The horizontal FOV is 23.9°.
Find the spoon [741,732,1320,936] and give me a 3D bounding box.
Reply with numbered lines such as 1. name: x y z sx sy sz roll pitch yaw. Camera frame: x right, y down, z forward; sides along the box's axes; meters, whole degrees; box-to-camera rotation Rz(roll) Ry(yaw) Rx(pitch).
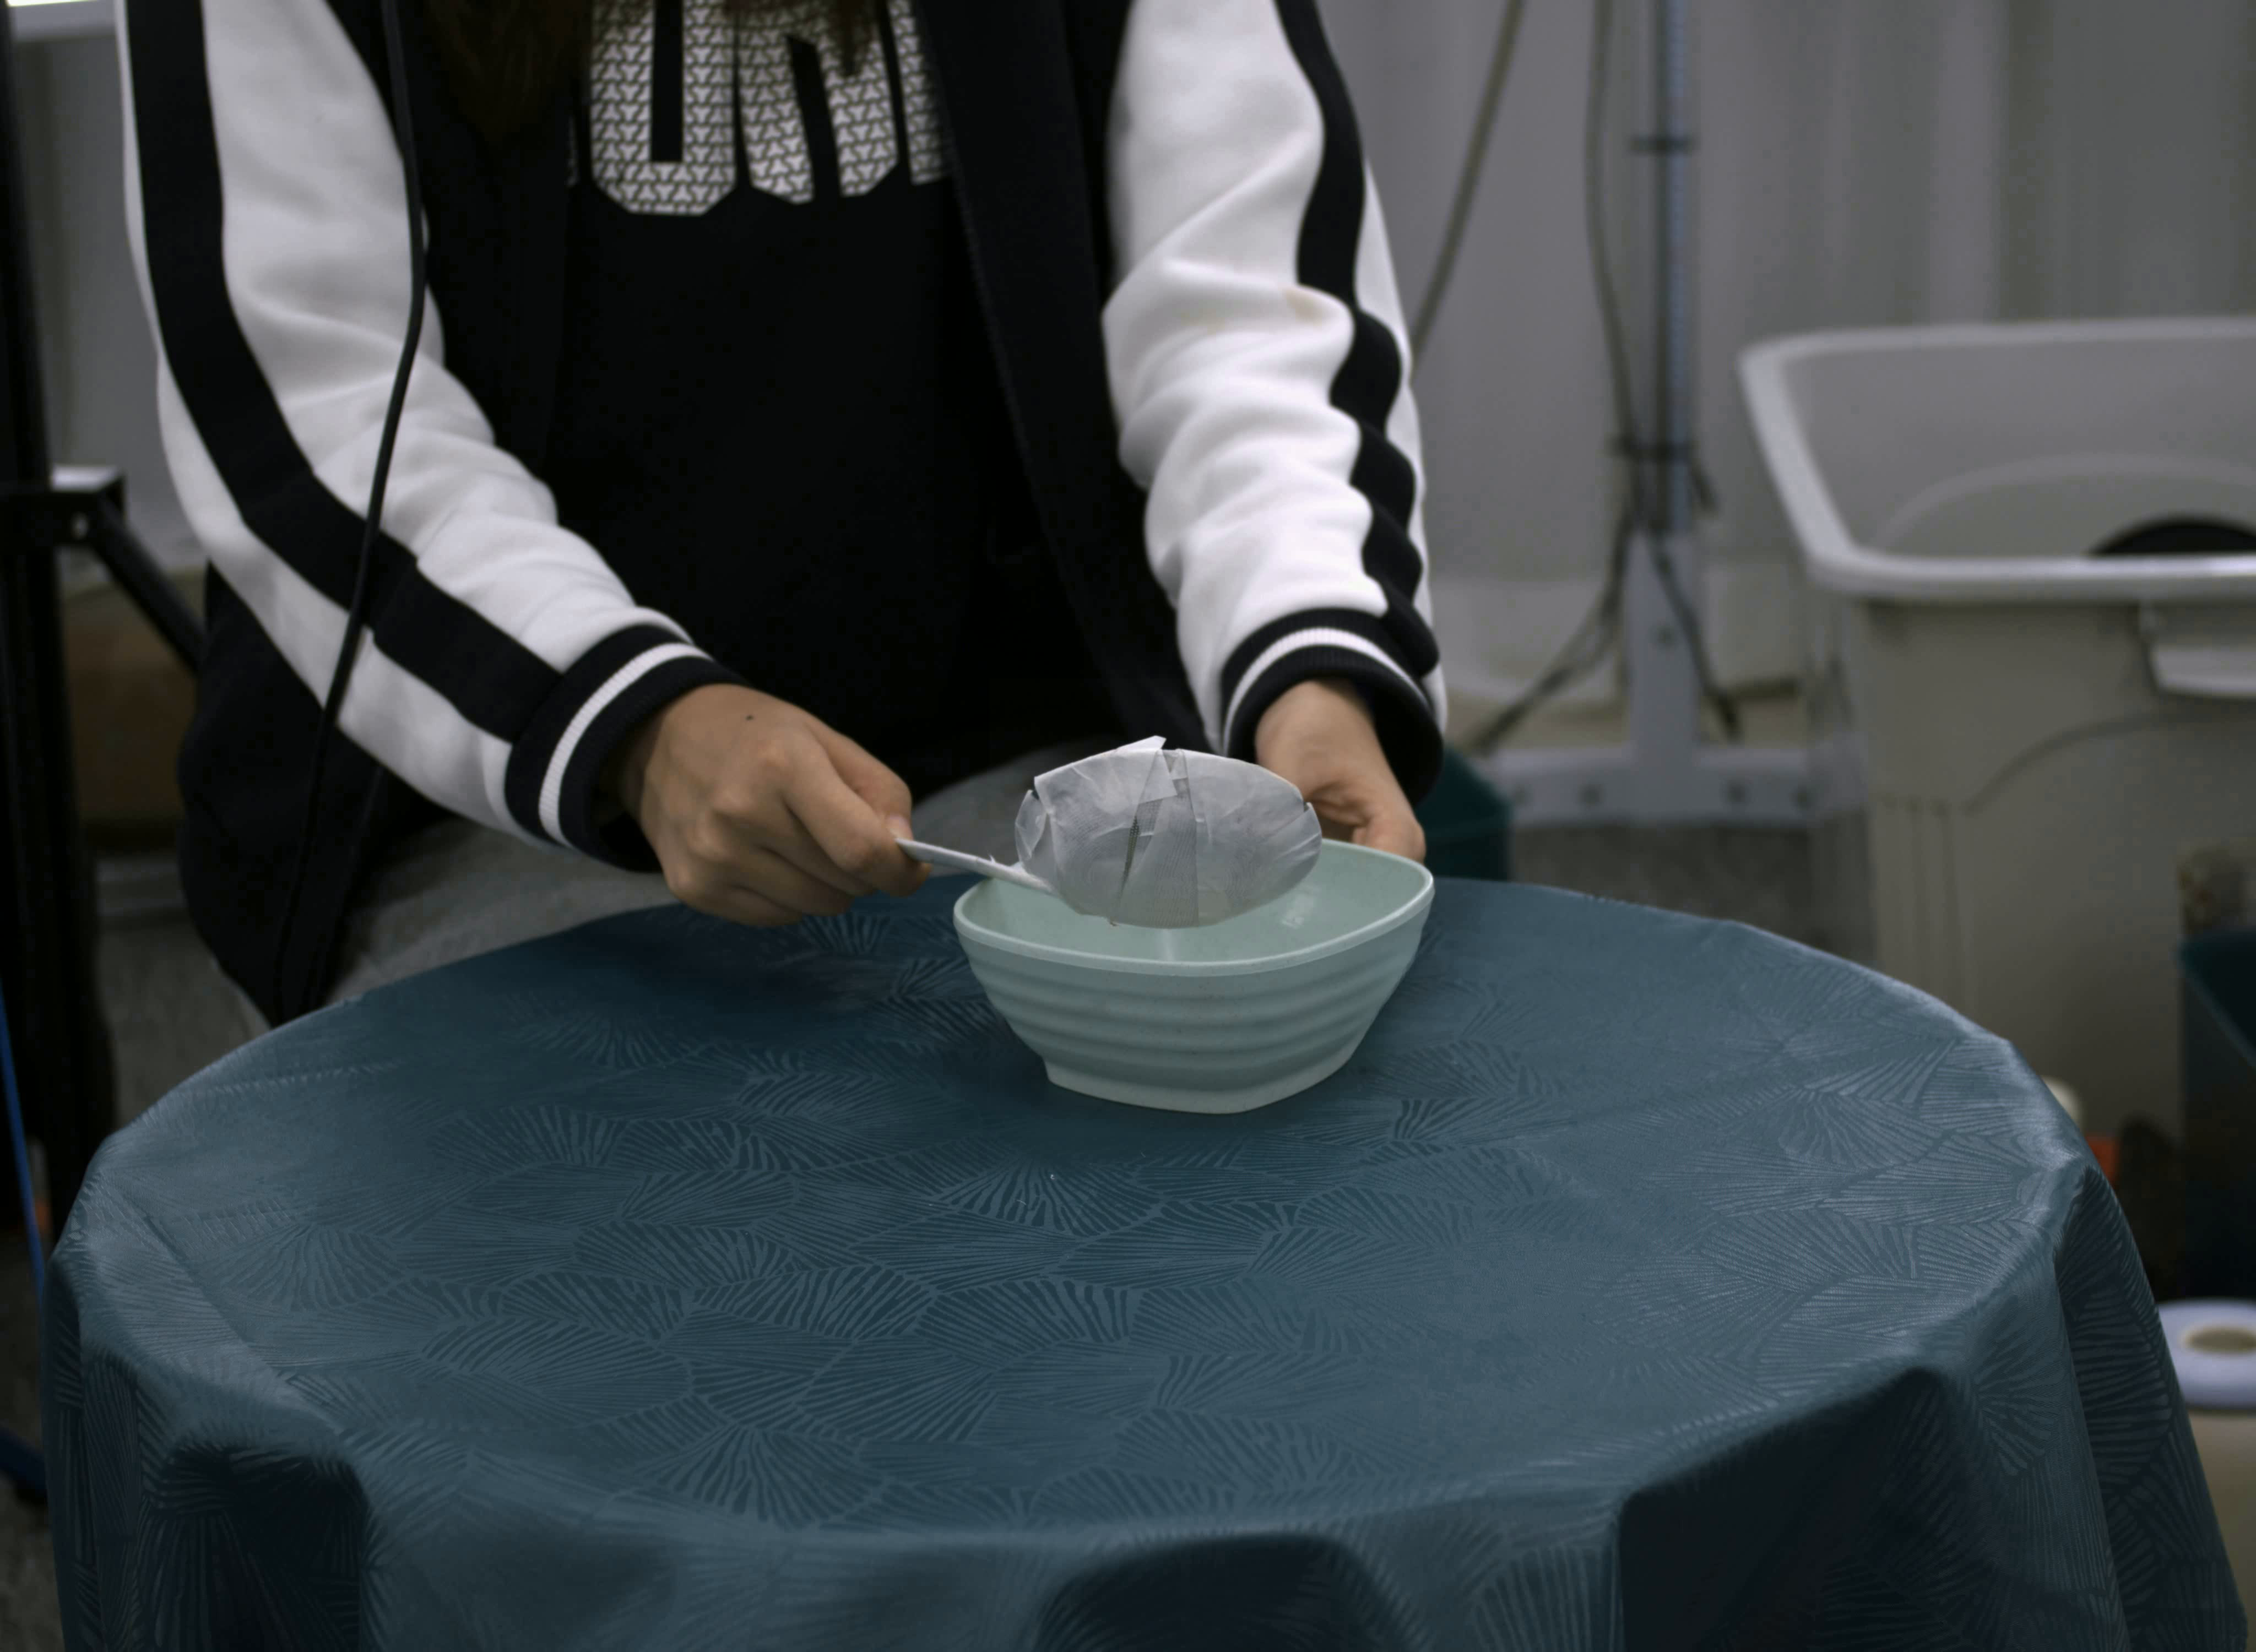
1. spoon: -0.038 -0.007 1.697 0.098 0.059 0.283 37 -12 -29

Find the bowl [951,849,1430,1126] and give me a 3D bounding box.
1. bowl: 0.021 0.051 1.661 0.150 0.058 0.152 -2 15 -1
